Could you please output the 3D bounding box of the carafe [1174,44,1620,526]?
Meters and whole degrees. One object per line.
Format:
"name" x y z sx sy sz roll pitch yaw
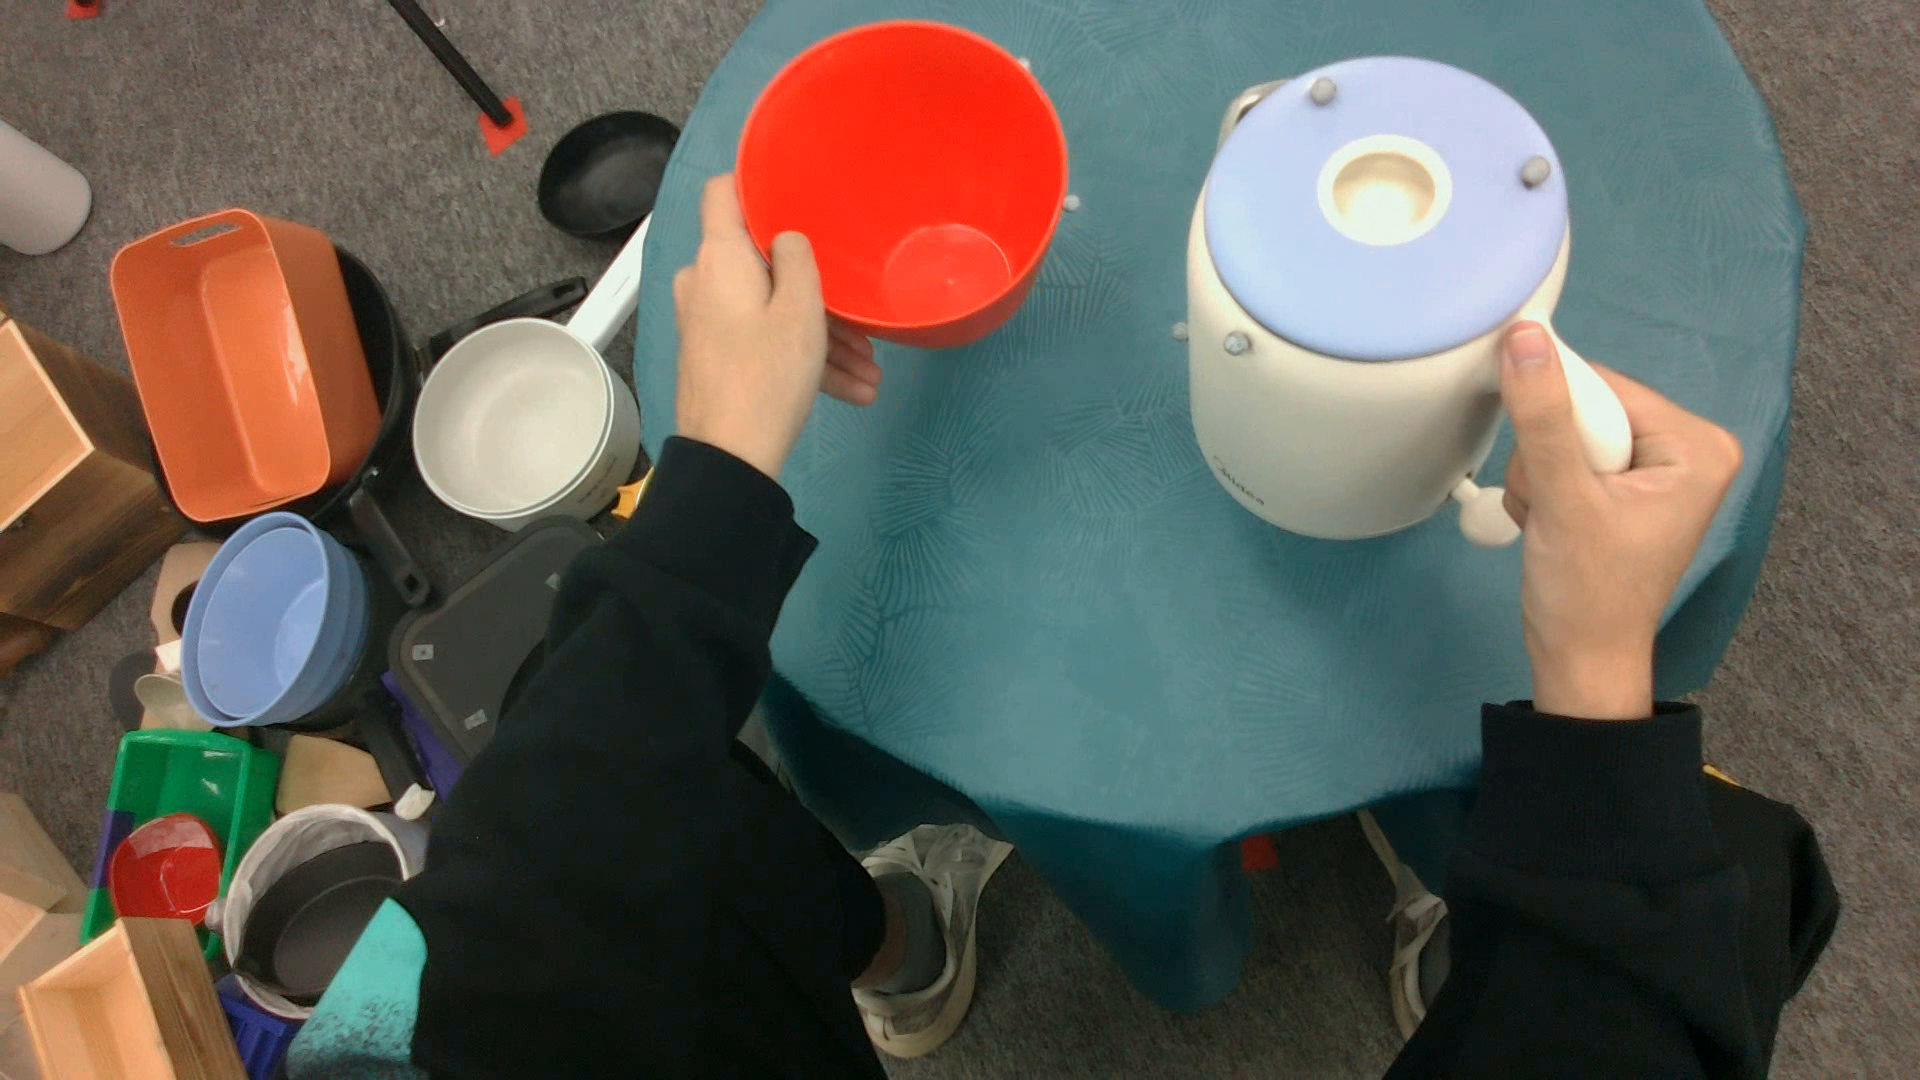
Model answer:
"carafe" 0.168 -0.077 0.540 0.132 0.182 0.191 -44 72 -6

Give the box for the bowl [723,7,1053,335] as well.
"bowl" -0.027 -0.159 0.652 0.148 0.104 0.148 -2 70 7
